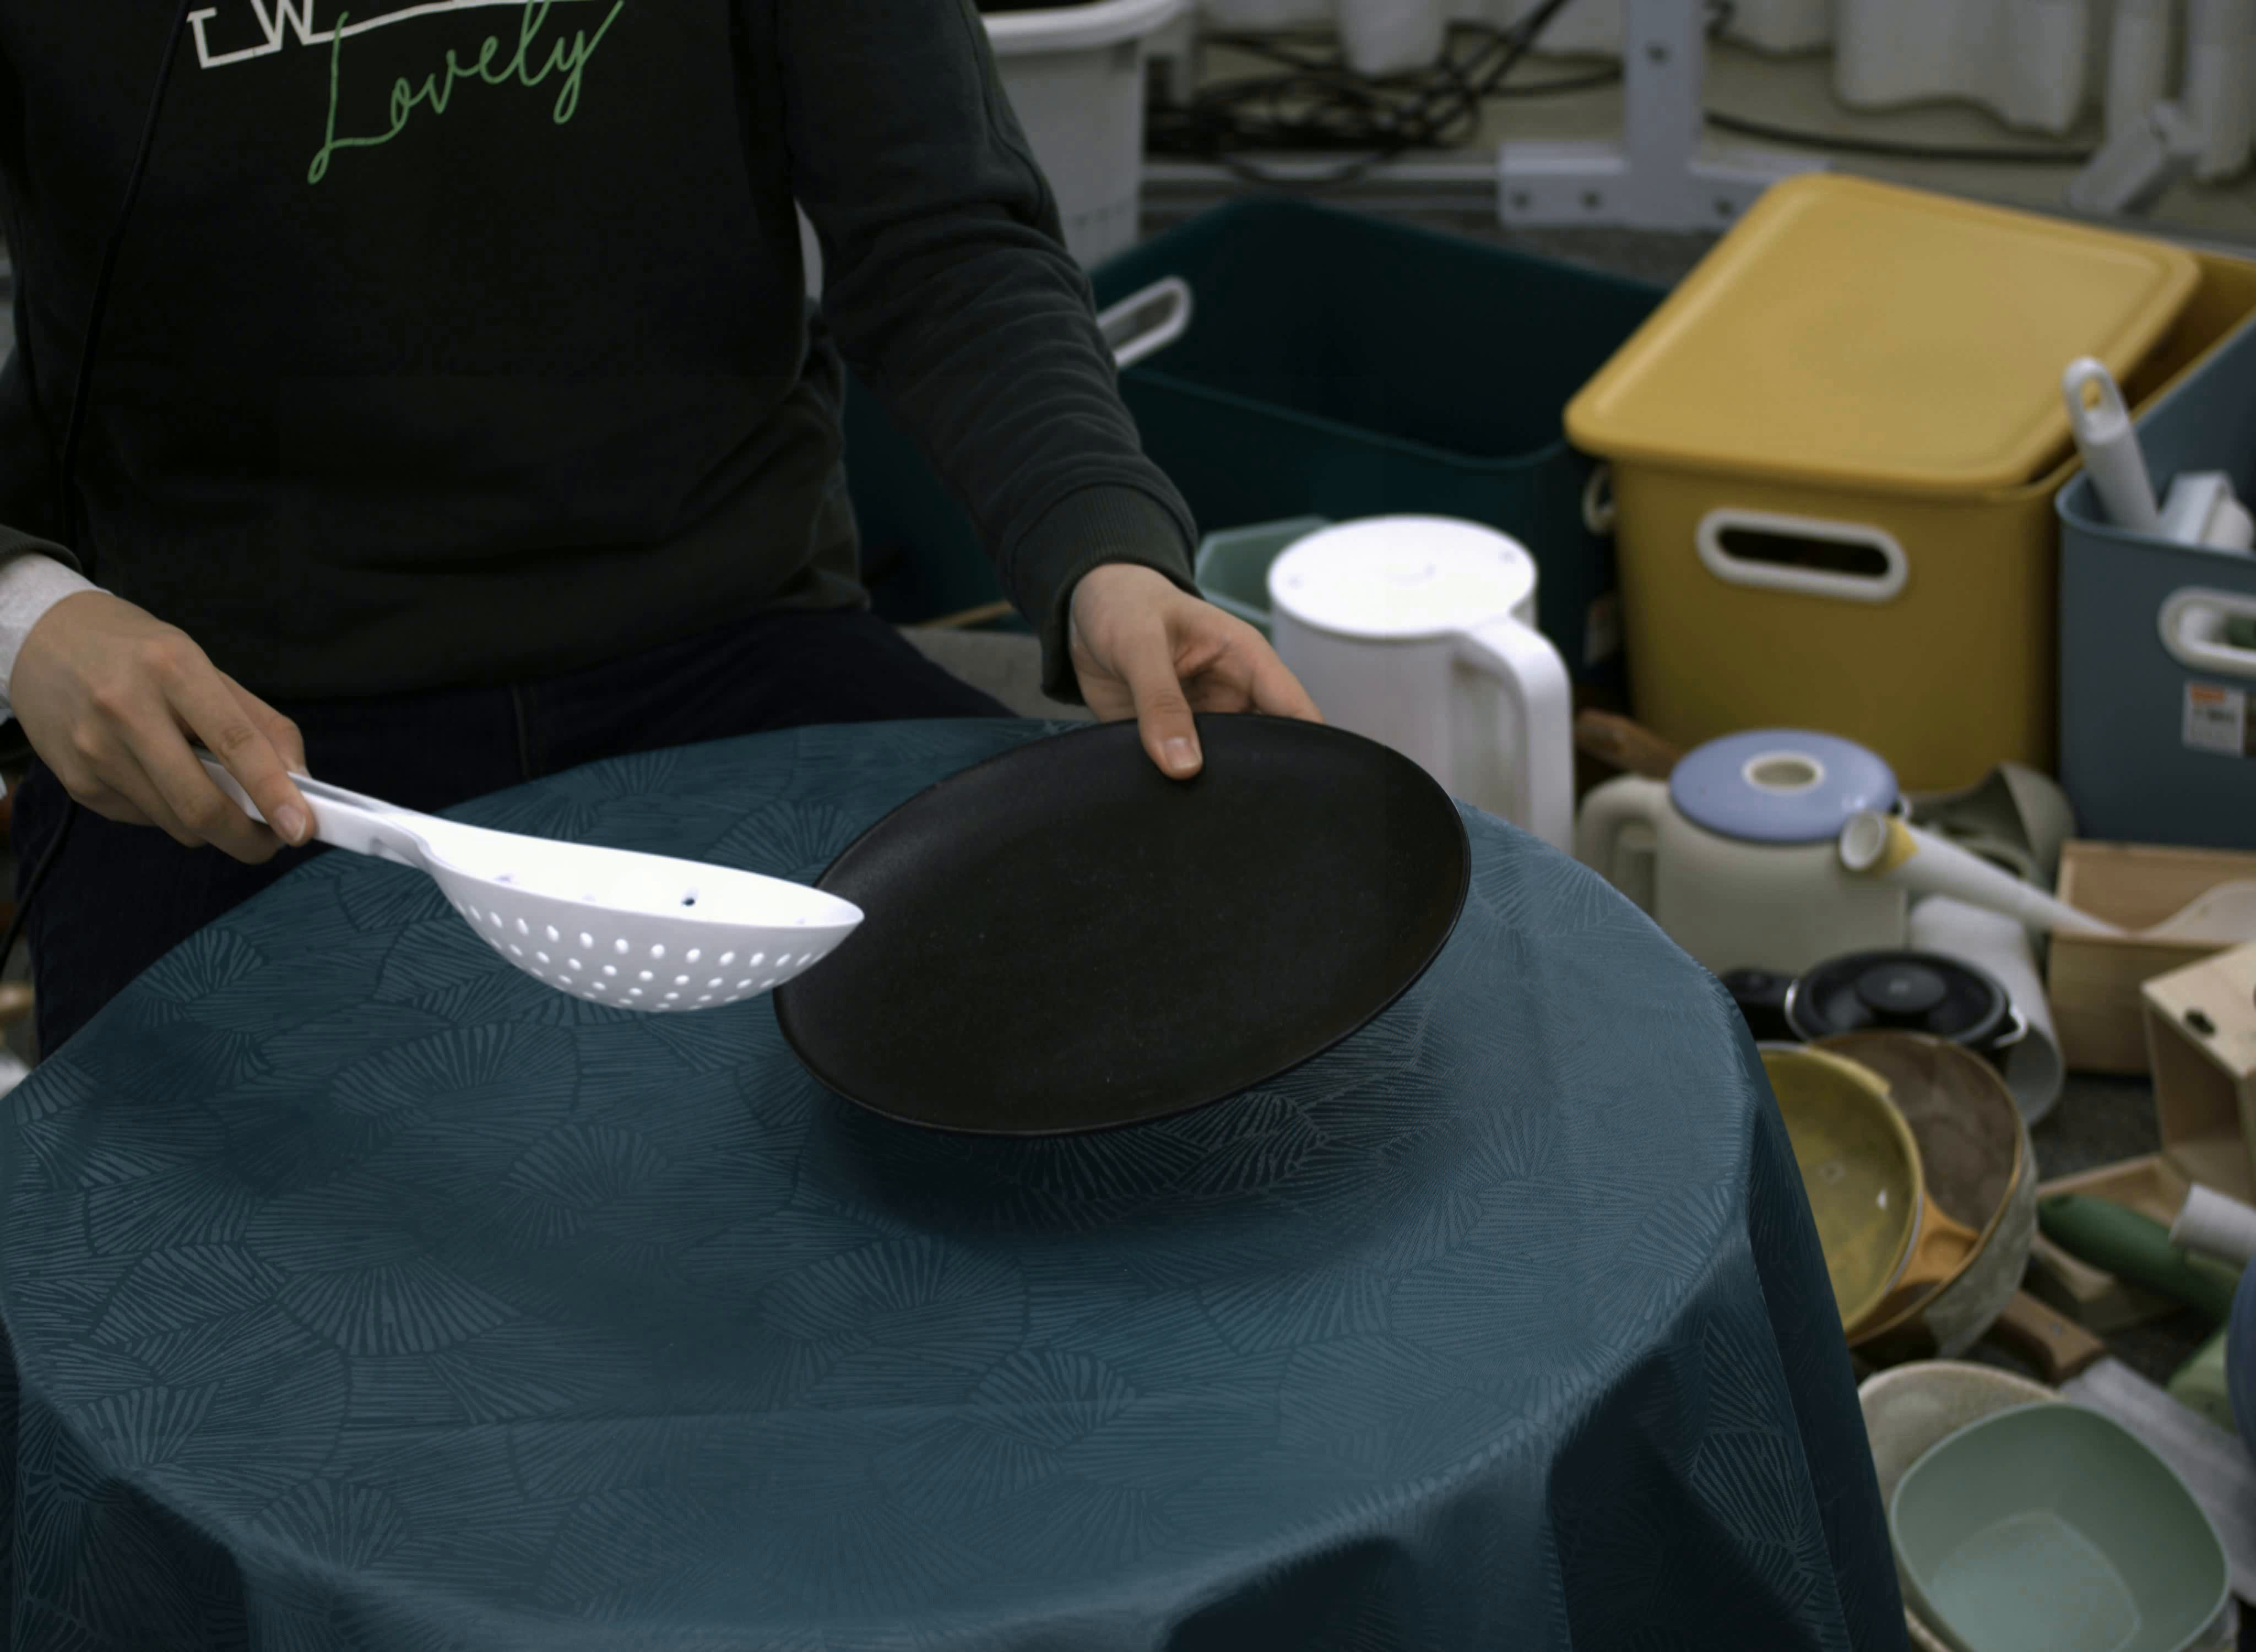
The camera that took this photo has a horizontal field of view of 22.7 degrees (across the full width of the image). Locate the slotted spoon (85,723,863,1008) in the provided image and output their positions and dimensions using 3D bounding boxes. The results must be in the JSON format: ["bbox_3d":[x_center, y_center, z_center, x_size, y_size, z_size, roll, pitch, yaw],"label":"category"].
[{"bbox_3d":[-0.227,0.005,1.816,0.349,0.046,0.136,20,10,42],"label":"slotted spoon"}]

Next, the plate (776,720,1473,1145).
[{"bbox_3d":[0.000,0.039,1.912,0.243,0.023,0.248,-10,32,6],"label":"plate"}]
